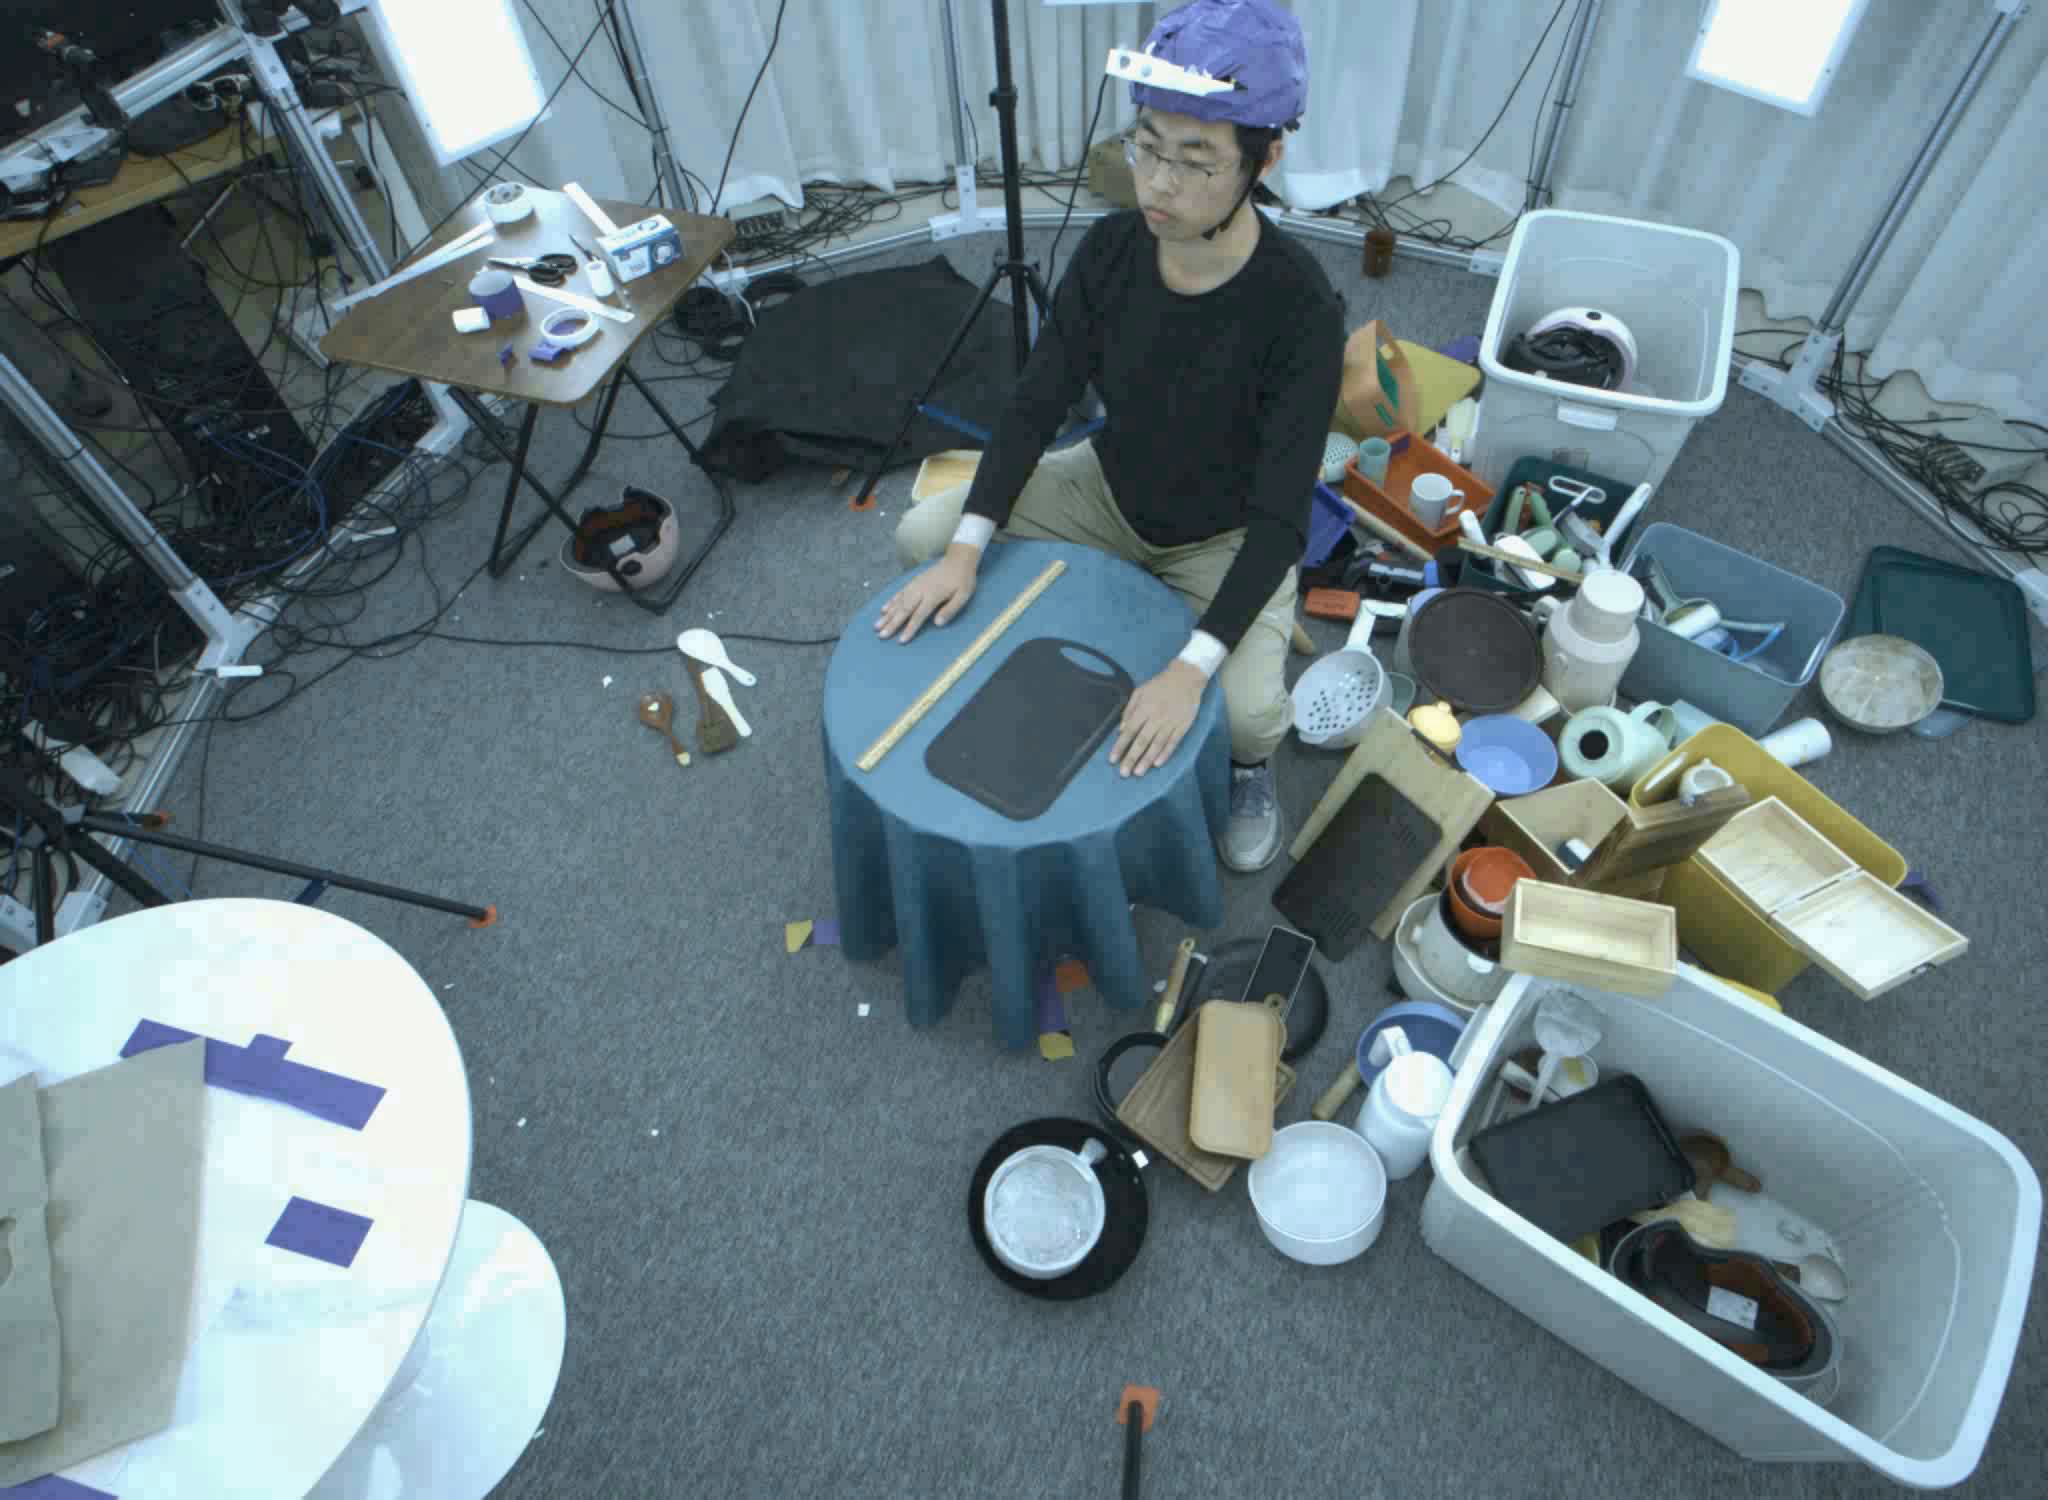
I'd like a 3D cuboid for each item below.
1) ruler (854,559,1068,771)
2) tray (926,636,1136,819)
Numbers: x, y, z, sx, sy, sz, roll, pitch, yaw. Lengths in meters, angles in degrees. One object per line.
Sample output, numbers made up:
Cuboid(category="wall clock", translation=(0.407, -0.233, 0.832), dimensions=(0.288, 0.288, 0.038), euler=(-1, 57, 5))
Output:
Cuboid(category="ruler", translation=(-0.087, -0.140, 1.887), dimensions=(0.026, 0.006, 0.503), euler=(32, 61, 20))
Cuboid(category="tray", translation=(0.017, -0.046, 1.816), dimensions=(0.208, 0.010, 0.327), euler=(30, 61, 21))
